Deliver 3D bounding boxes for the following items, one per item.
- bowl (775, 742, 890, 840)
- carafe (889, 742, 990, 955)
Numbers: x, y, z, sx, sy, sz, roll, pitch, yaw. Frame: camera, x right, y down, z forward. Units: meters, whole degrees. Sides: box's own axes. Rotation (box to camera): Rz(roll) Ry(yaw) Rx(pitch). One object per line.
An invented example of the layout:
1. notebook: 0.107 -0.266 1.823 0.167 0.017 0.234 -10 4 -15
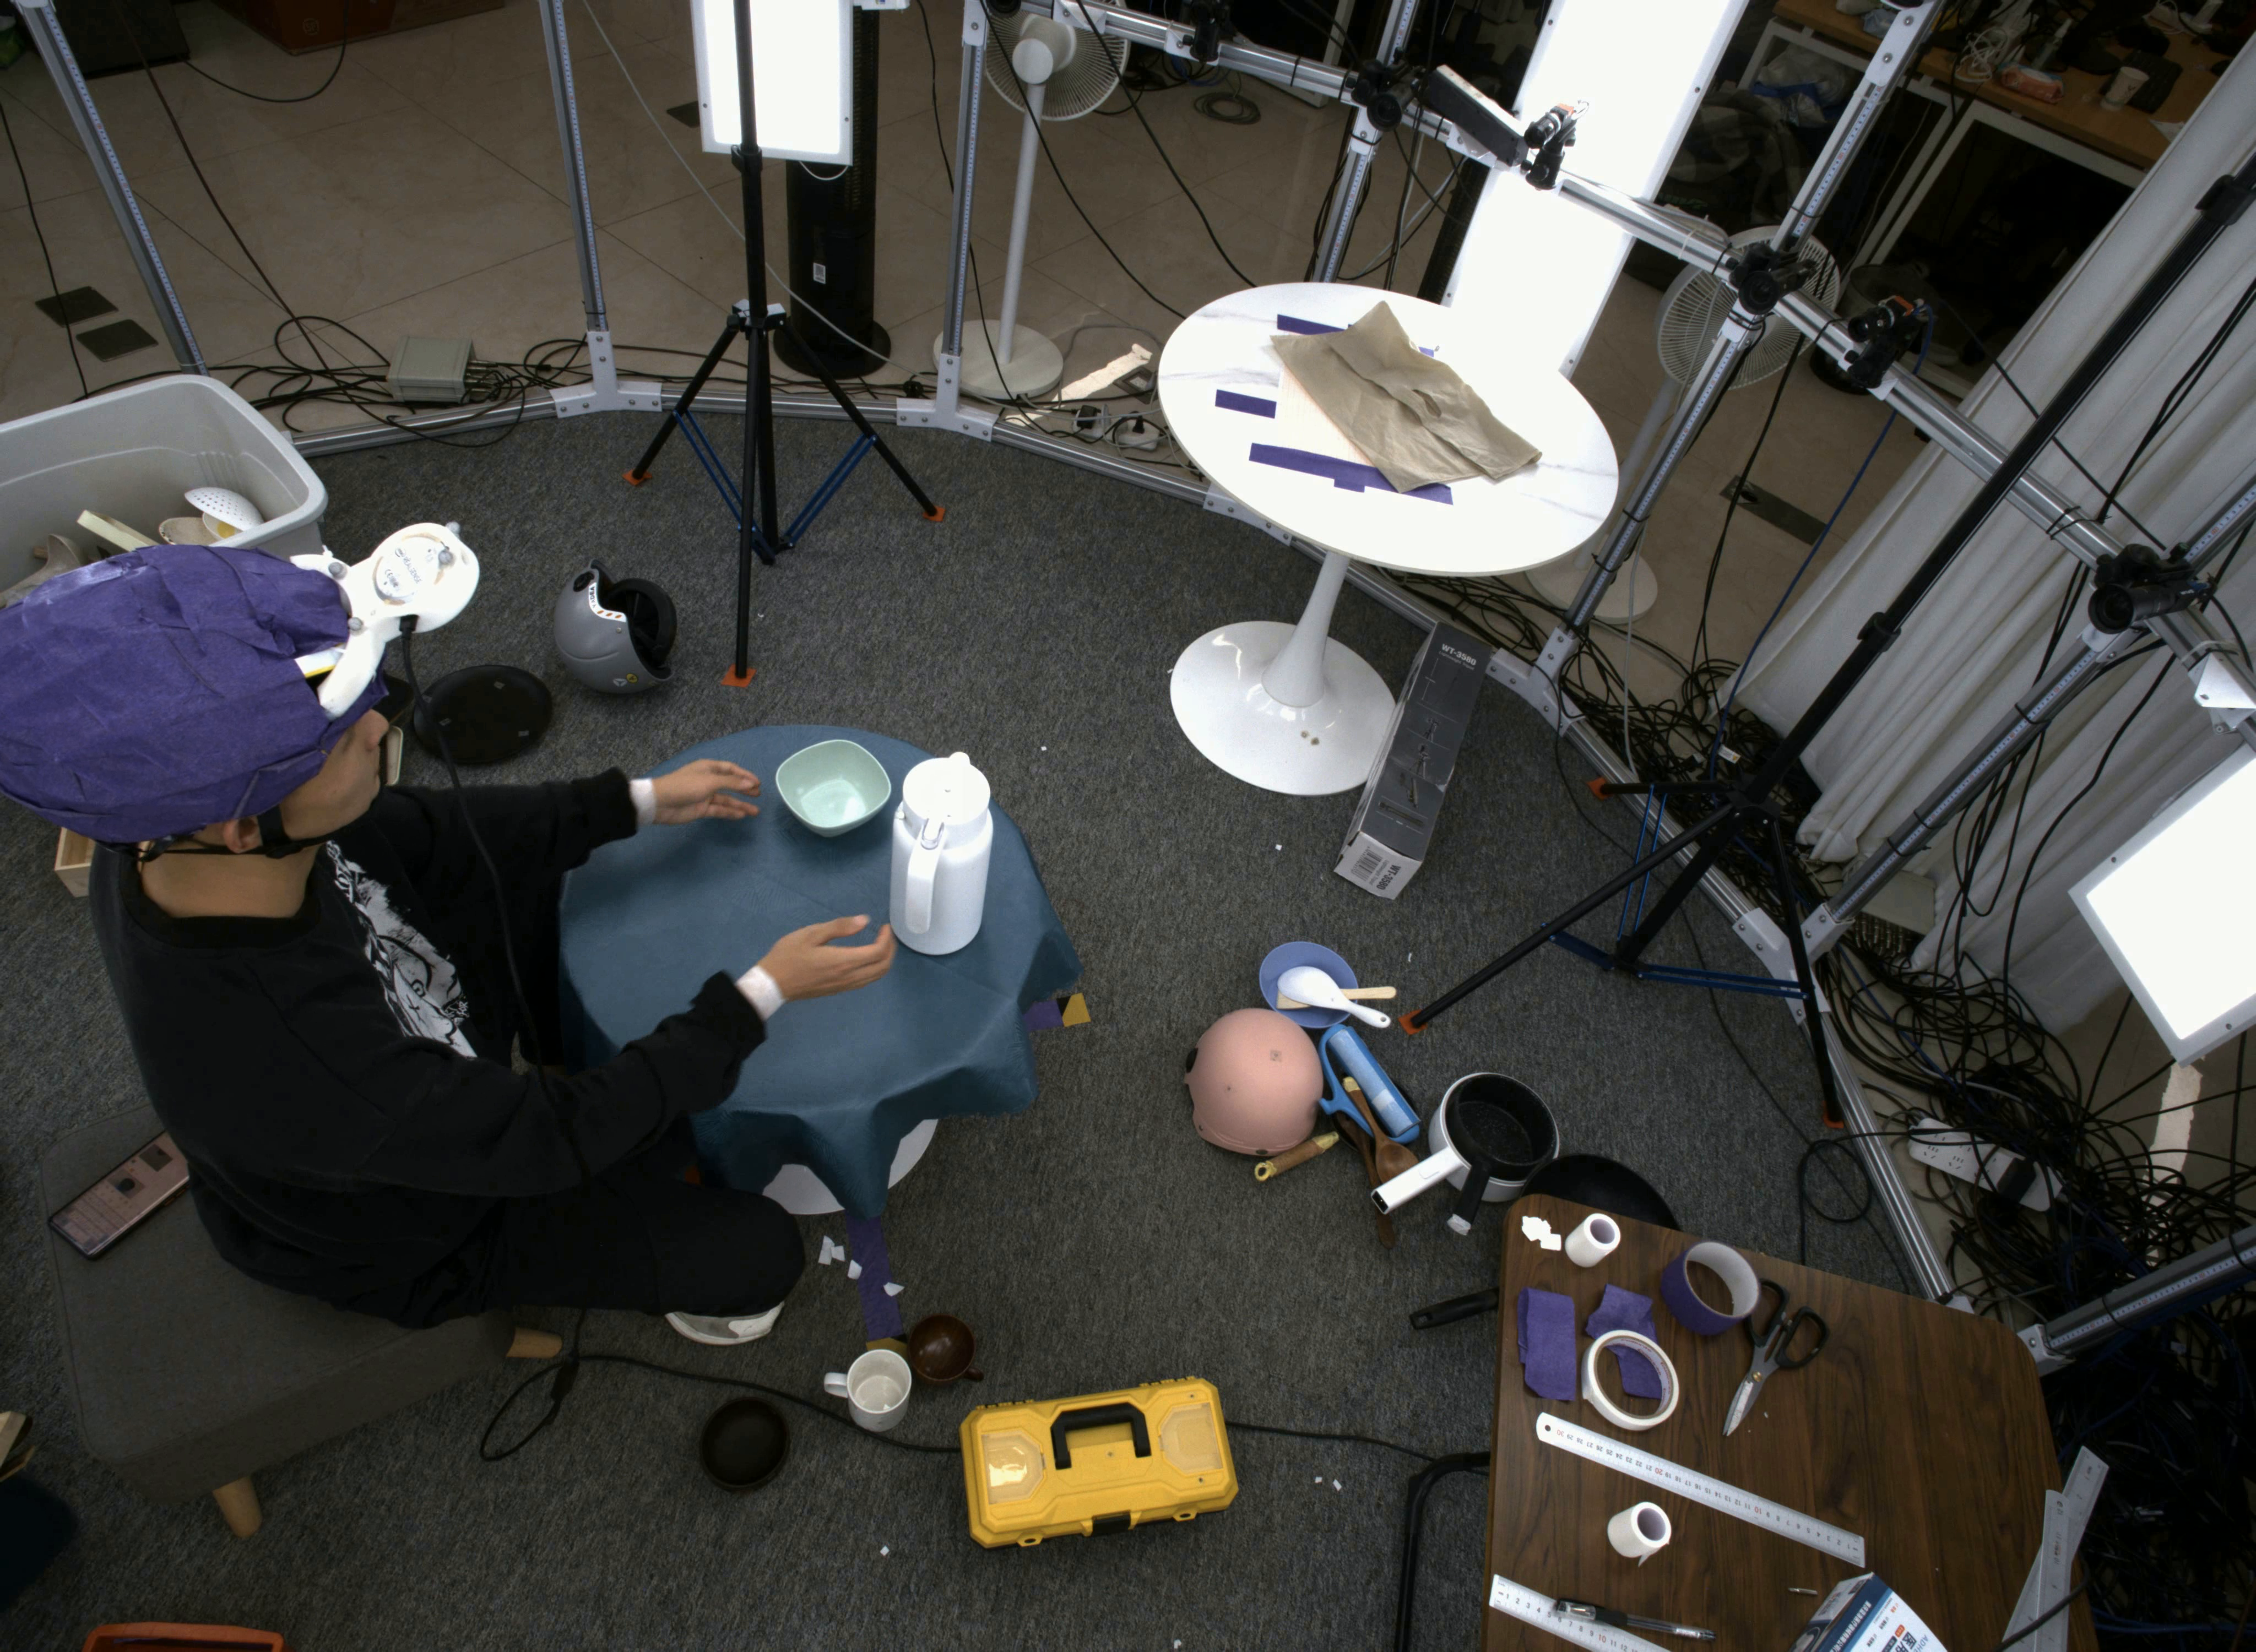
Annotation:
1. bowl: -0.392 -0.038 1.724 0.151 0.060 0.149 8 52 -8
2. carafe: -0.230 0.049 1.563 0.123 0.274 0.170 14 51 -3
